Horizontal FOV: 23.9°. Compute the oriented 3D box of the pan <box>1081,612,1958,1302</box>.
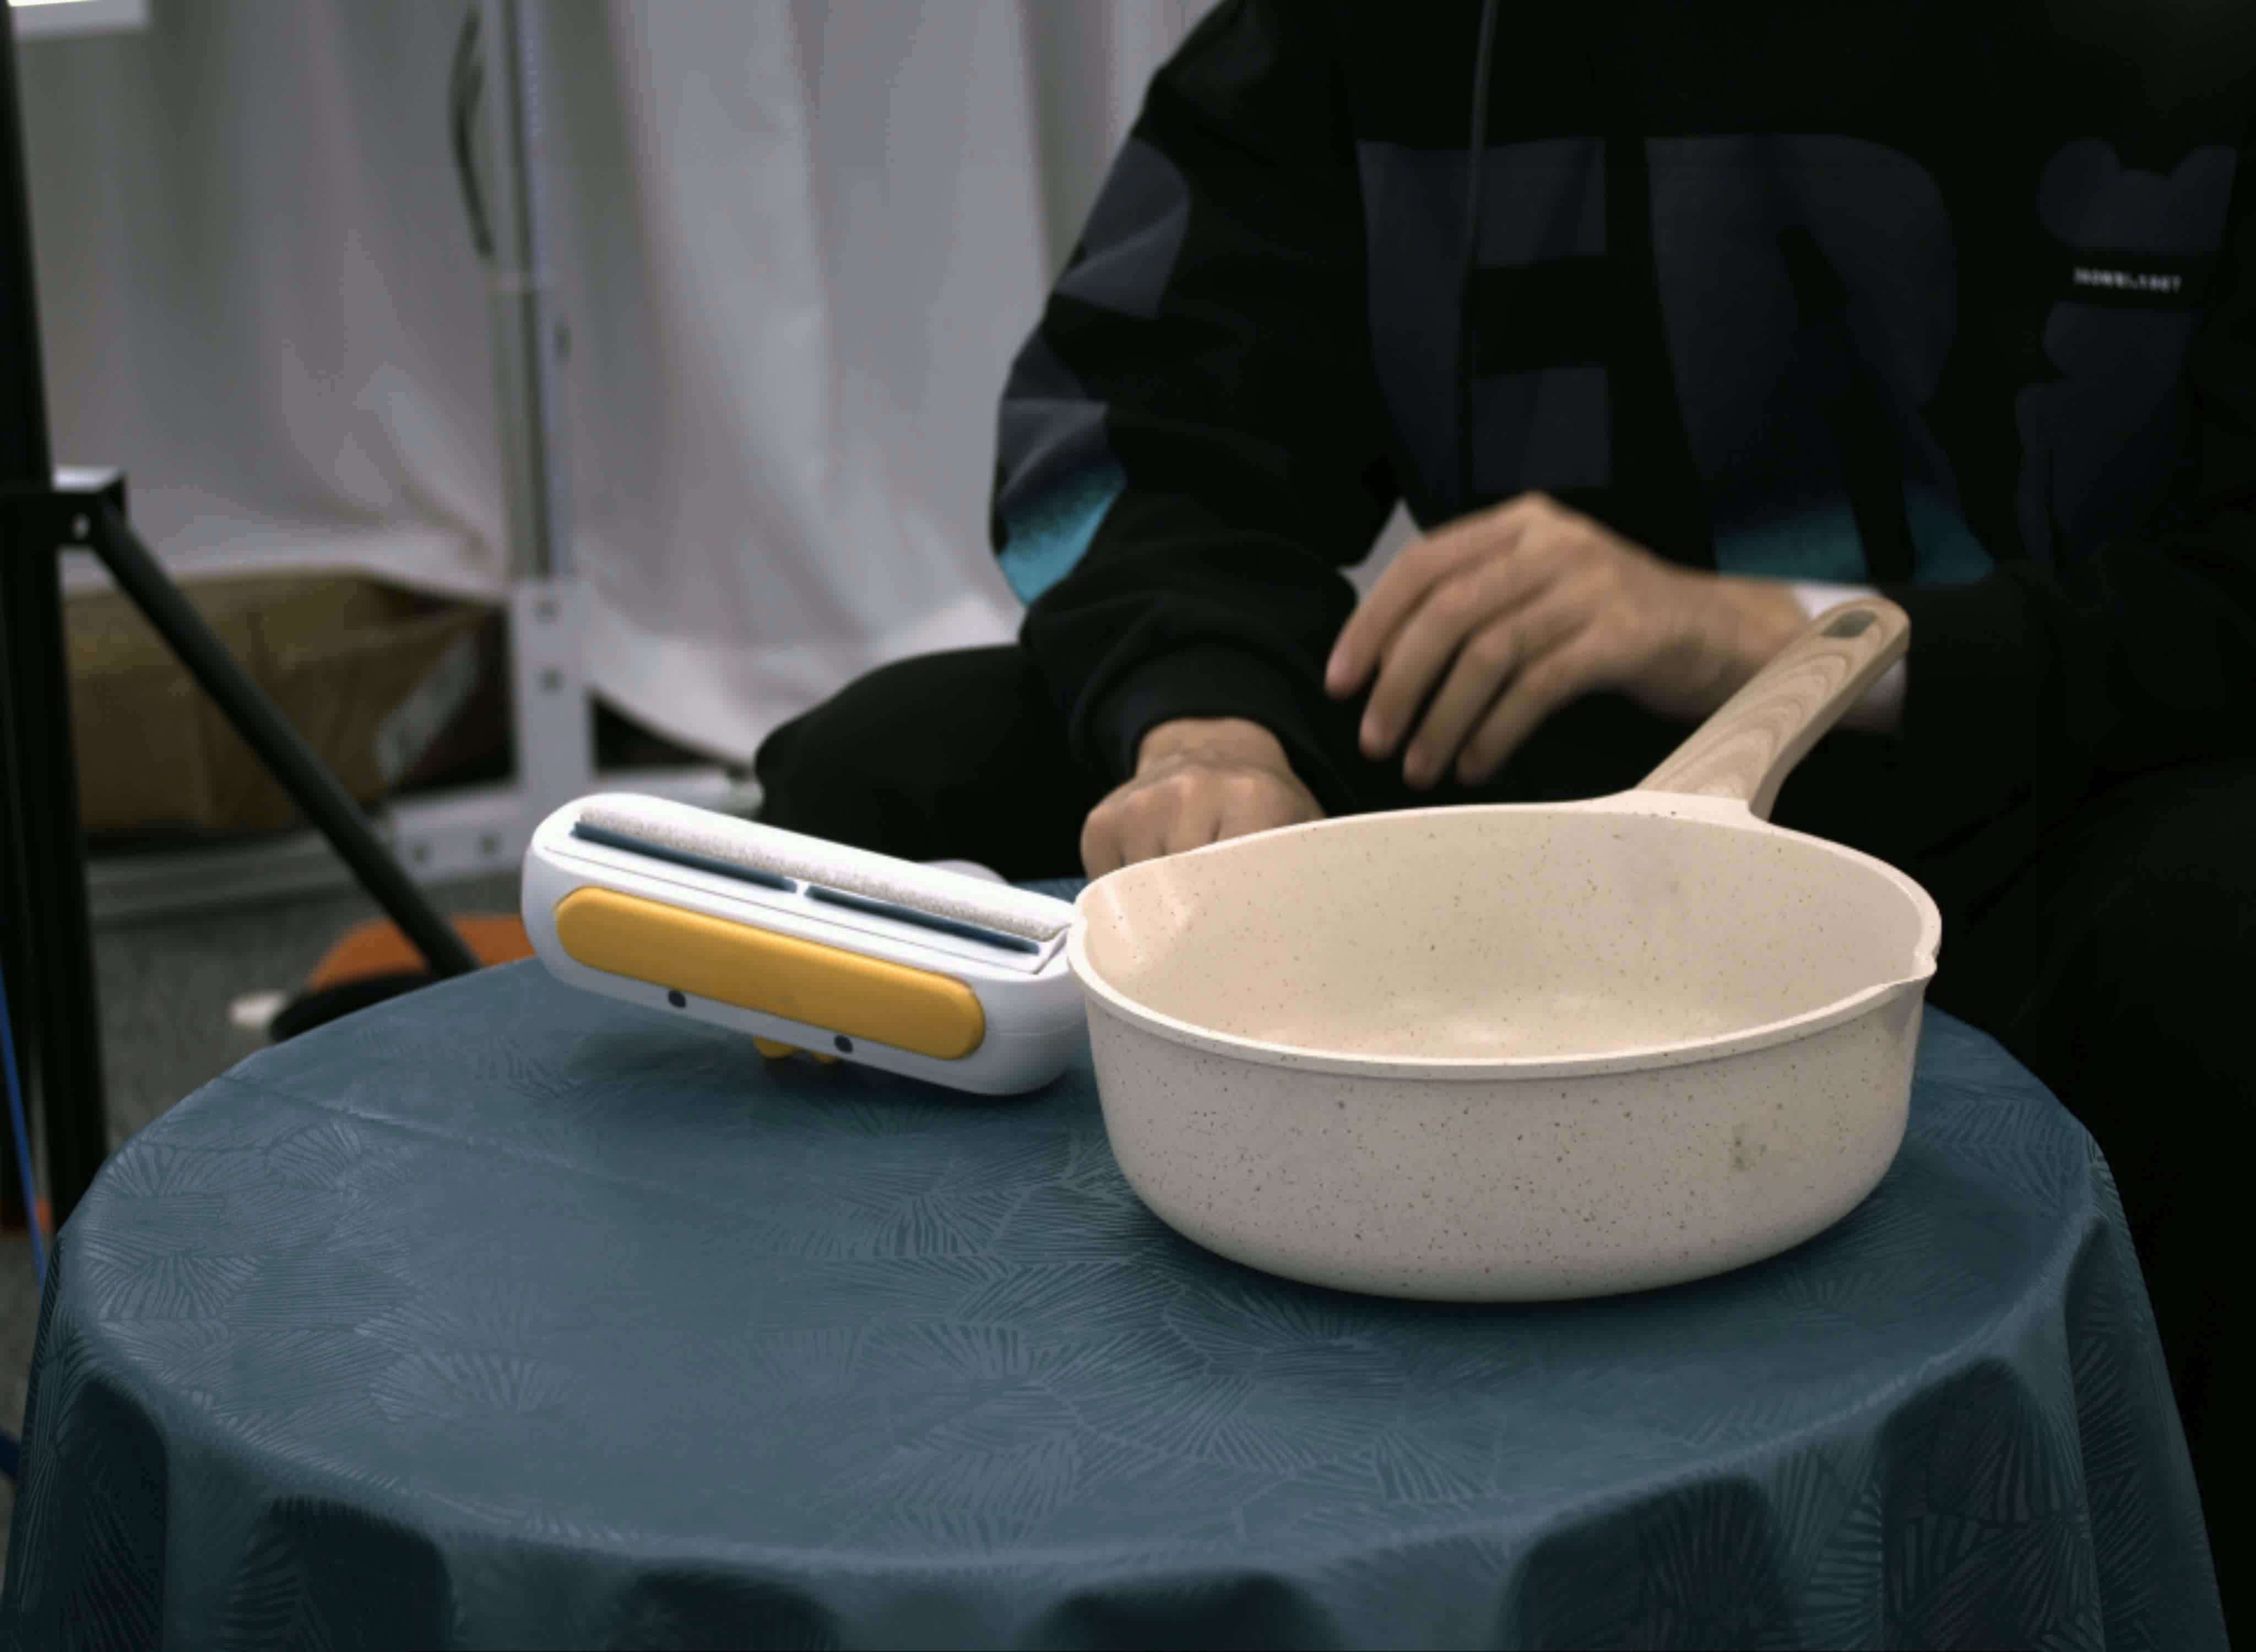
[{"bbox_3d":[0.154,0.036,1.603,0.268,0.102,0.428,3,17,28],"label":"pan"}]

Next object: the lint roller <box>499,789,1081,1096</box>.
[{"bbox_3d":[-0.083,0.028,1.730,0.196,0.074,0.189,11,18,24],"label":"lint roller"}]
